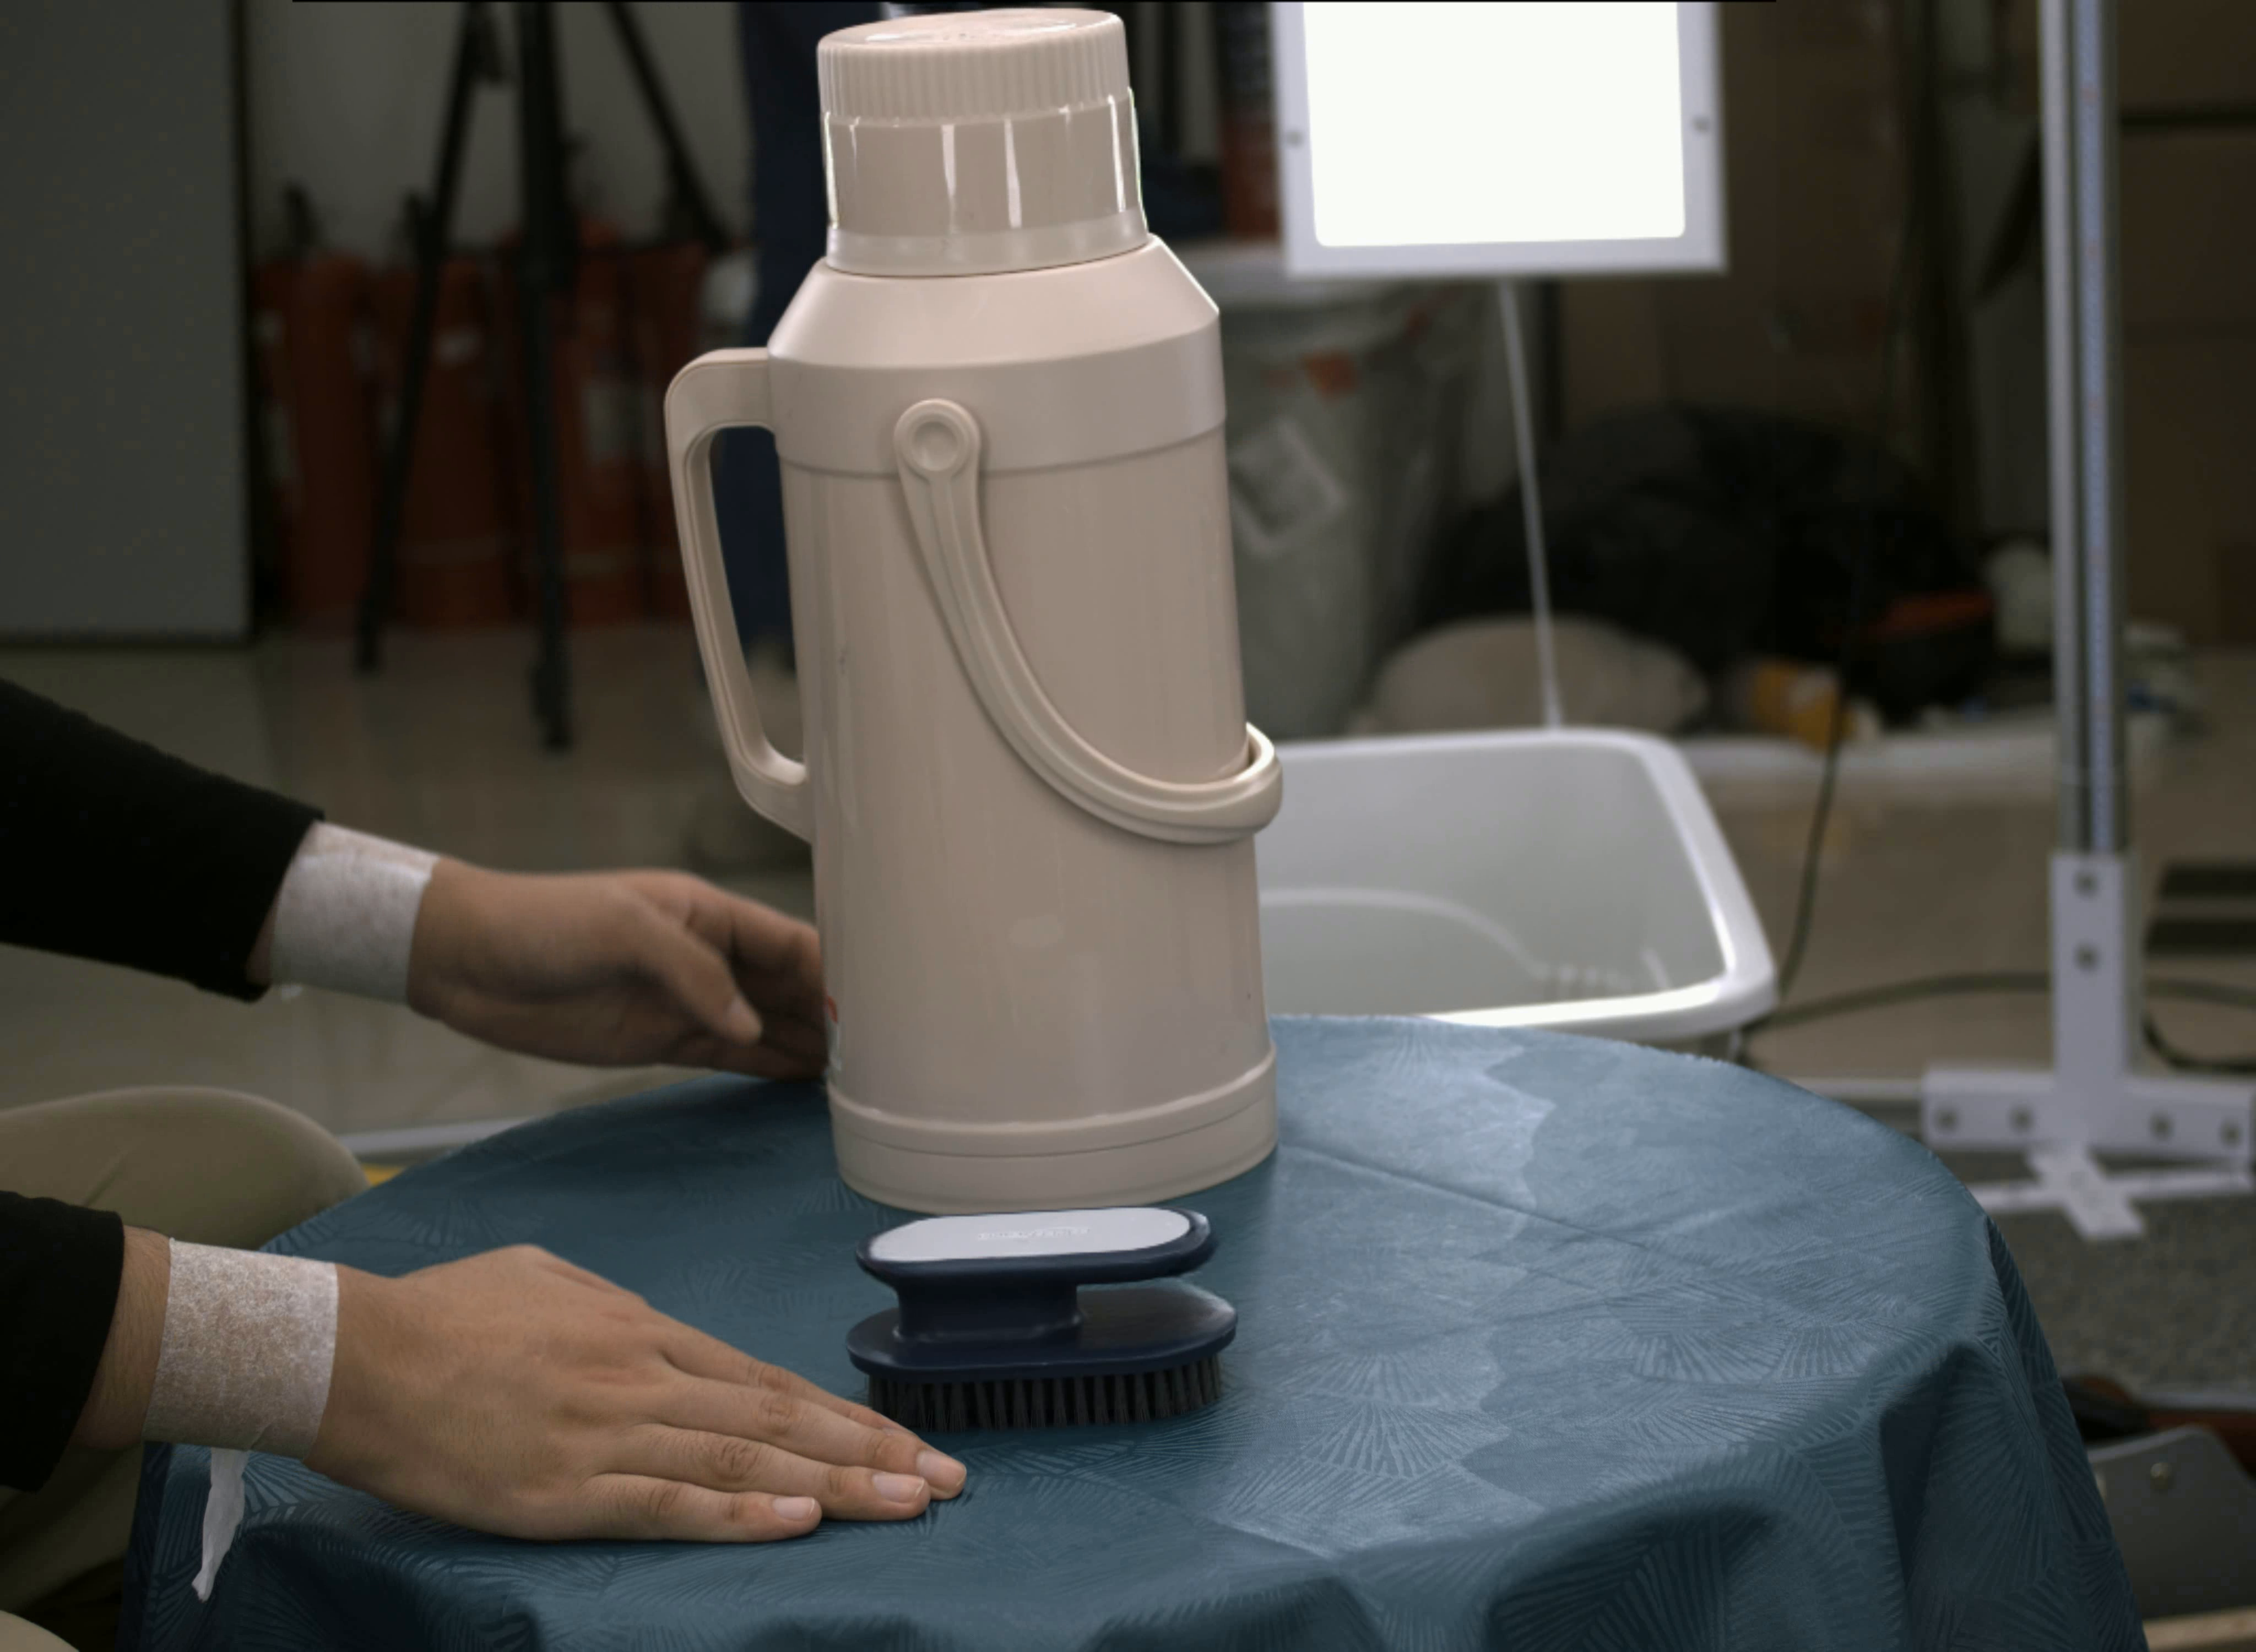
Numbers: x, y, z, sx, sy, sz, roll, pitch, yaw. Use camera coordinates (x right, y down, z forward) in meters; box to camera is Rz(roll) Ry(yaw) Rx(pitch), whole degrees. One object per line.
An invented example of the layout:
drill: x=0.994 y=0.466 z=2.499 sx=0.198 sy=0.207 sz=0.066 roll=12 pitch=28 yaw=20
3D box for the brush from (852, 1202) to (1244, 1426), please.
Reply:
brush: x=-0.025 y=0.152 z=1.693 sx=0.122 sy=0.061 sz=0.067 roll=-2 pitch=14 yaw=8

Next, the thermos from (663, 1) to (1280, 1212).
thermos: x=-0.053 y=-0.077 z=1.913 sx=0.209 sy=0.408 sz=0.173 roll=-1 pitch=16 yaw=14
